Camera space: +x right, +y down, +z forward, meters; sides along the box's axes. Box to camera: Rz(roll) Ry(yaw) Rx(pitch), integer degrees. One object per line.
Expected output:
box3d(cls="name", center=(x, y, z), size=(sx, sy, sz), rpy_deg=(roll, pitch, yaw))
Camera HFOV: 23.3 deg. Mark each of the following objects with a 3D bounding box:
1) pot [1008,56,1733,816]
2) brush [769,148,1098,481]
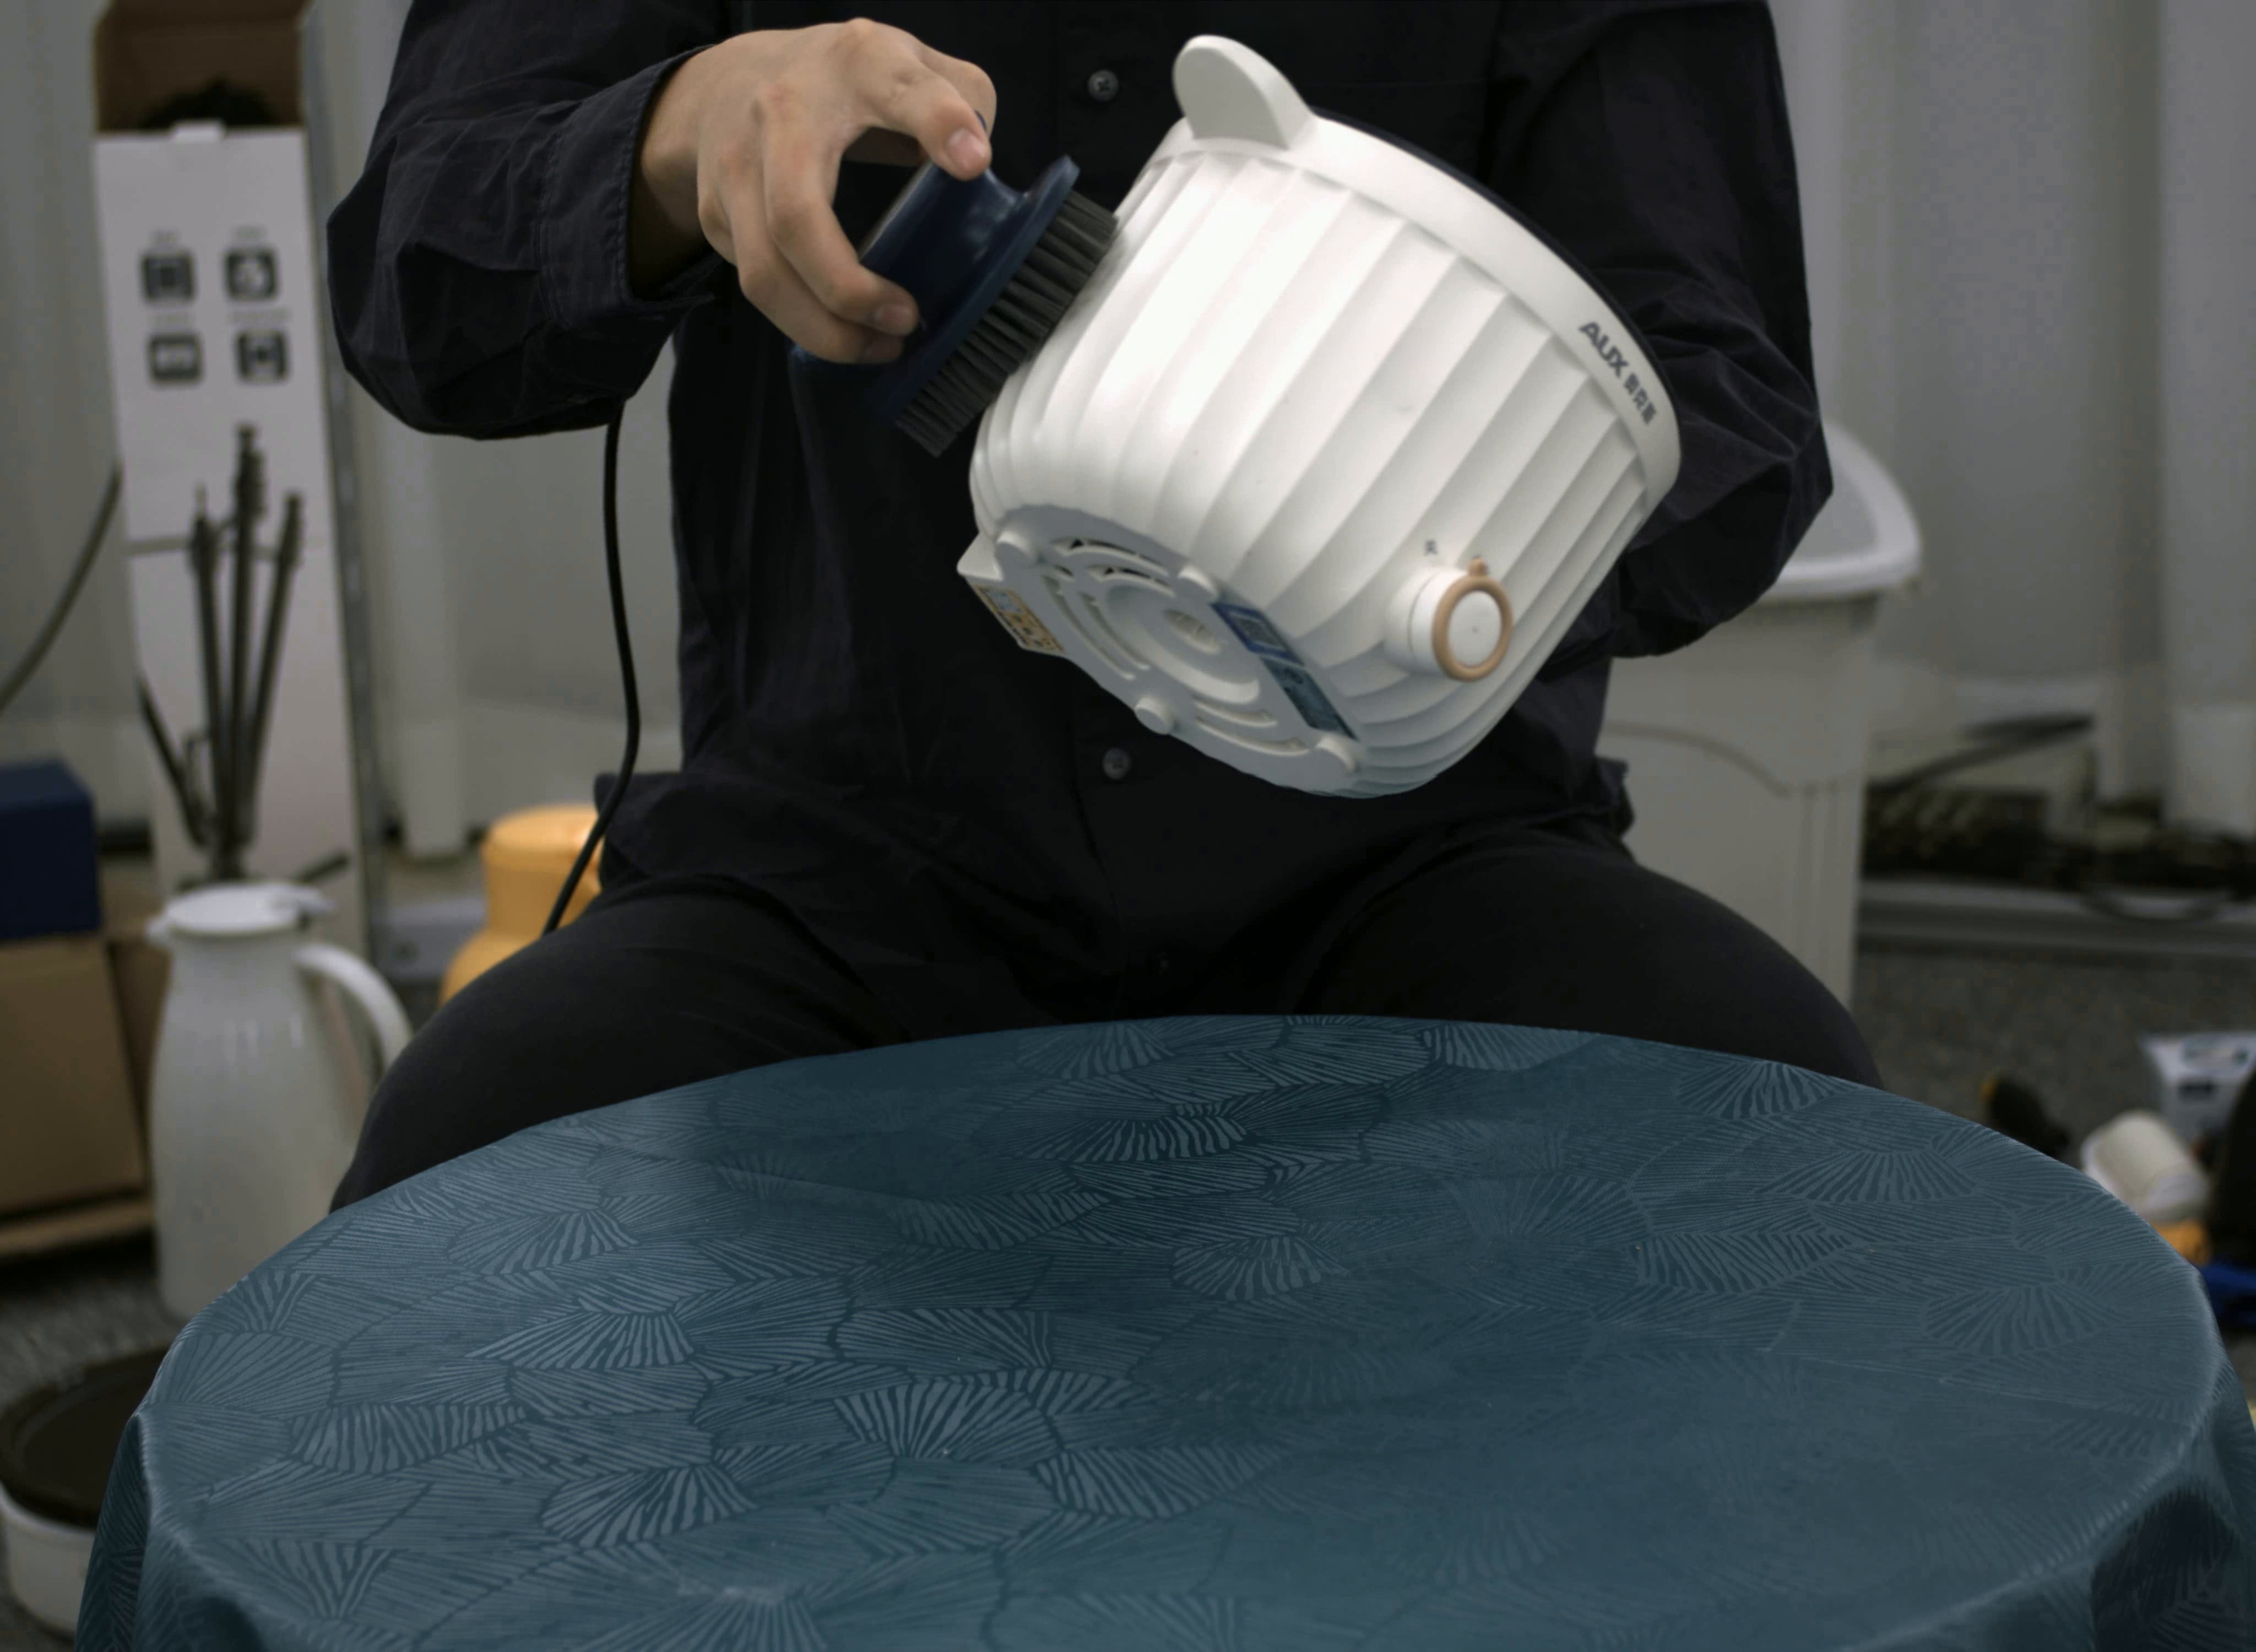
box3d(cls="pot", center=(0.070, -0.095, 1.602), size=(0.191, 0.237, 0.143), rpy_deg=(11, 60, 45))
box3d(cls="brush", center=(-0.056, -0.147, 1.604), size=(0.121, 0.061, 0.068), rpy_deg=(-38, 21, 57))
